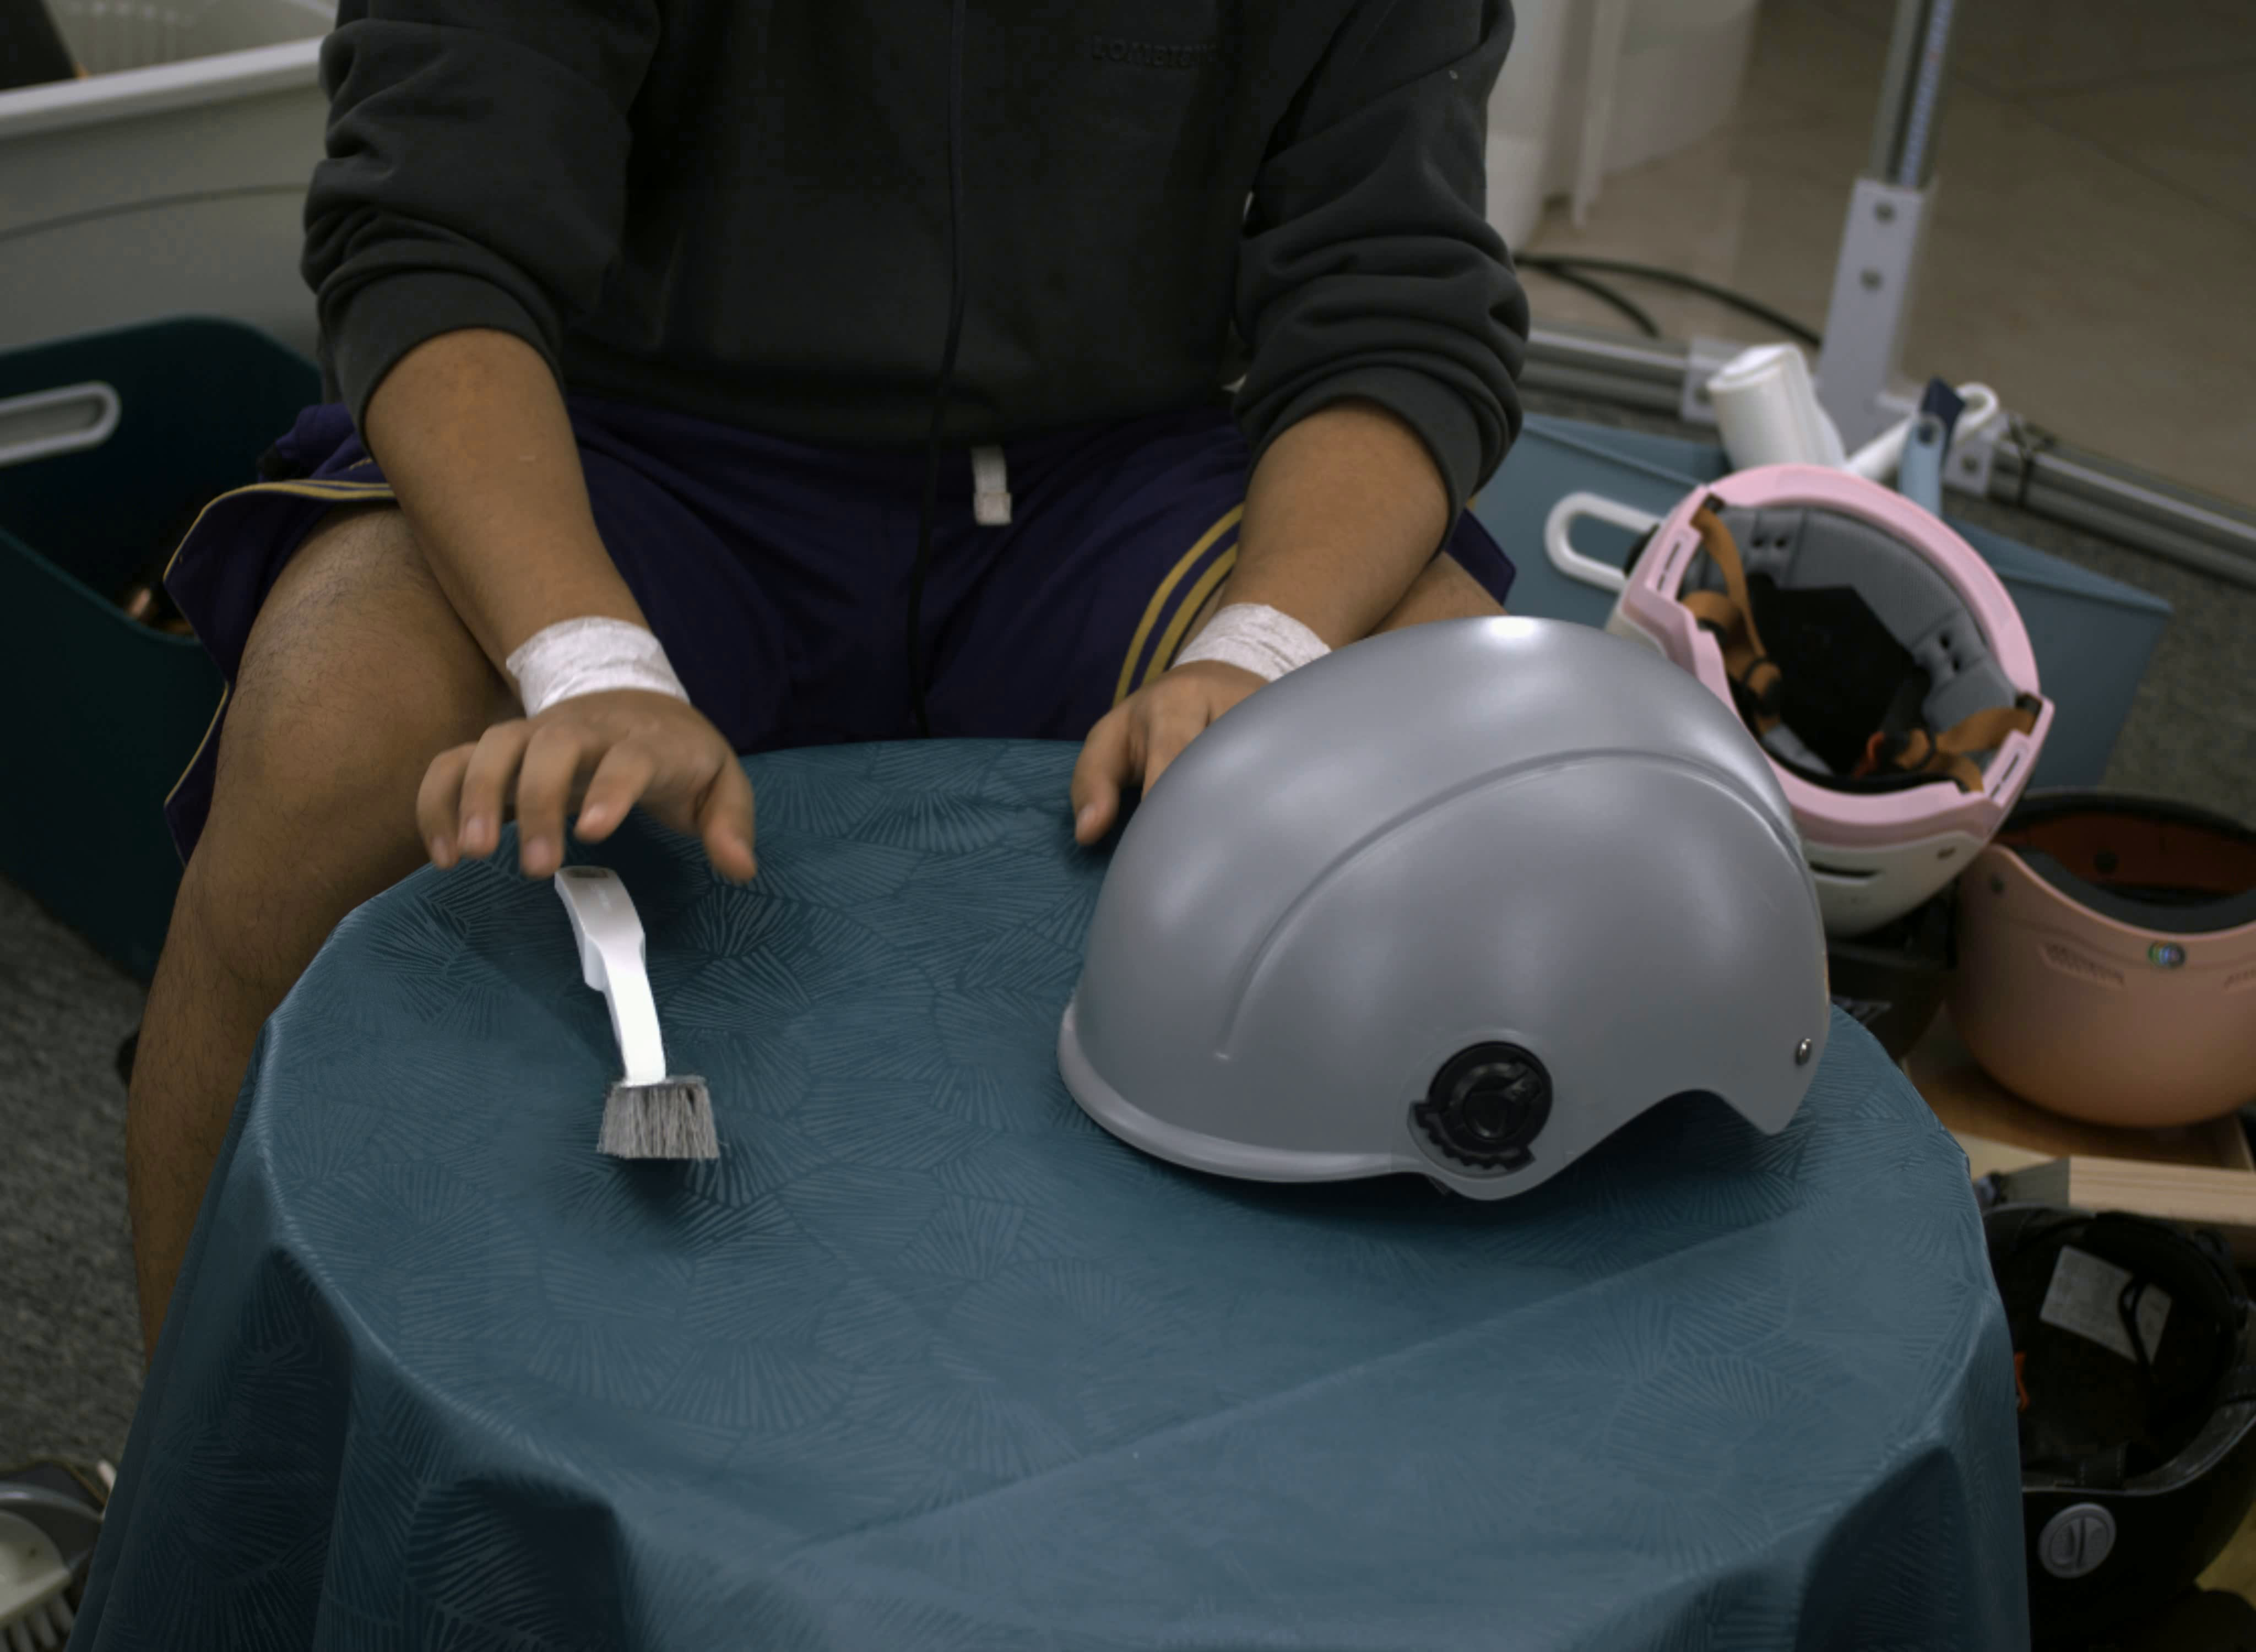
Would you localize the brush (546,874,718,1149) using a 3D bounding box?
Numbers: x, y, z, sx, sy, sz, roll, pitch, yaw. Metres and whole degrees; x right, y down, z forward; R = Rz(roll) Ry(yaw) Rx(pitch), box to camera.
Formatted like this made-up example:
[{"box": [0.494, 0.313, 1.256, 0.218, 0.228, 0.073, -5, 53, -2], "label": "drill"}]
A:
[{"box": [-0.176, 0.067, 1.847, 0.034, 0.050, 0.245, -1, 14, -14], "label": "brush"}]

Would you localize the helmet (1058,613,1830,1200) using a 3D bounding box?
[{"box": [0.114, 0.014, 1.864, 0.274, 0.168, 0.234, -7, 27, -21], "label": "helmet"}]
